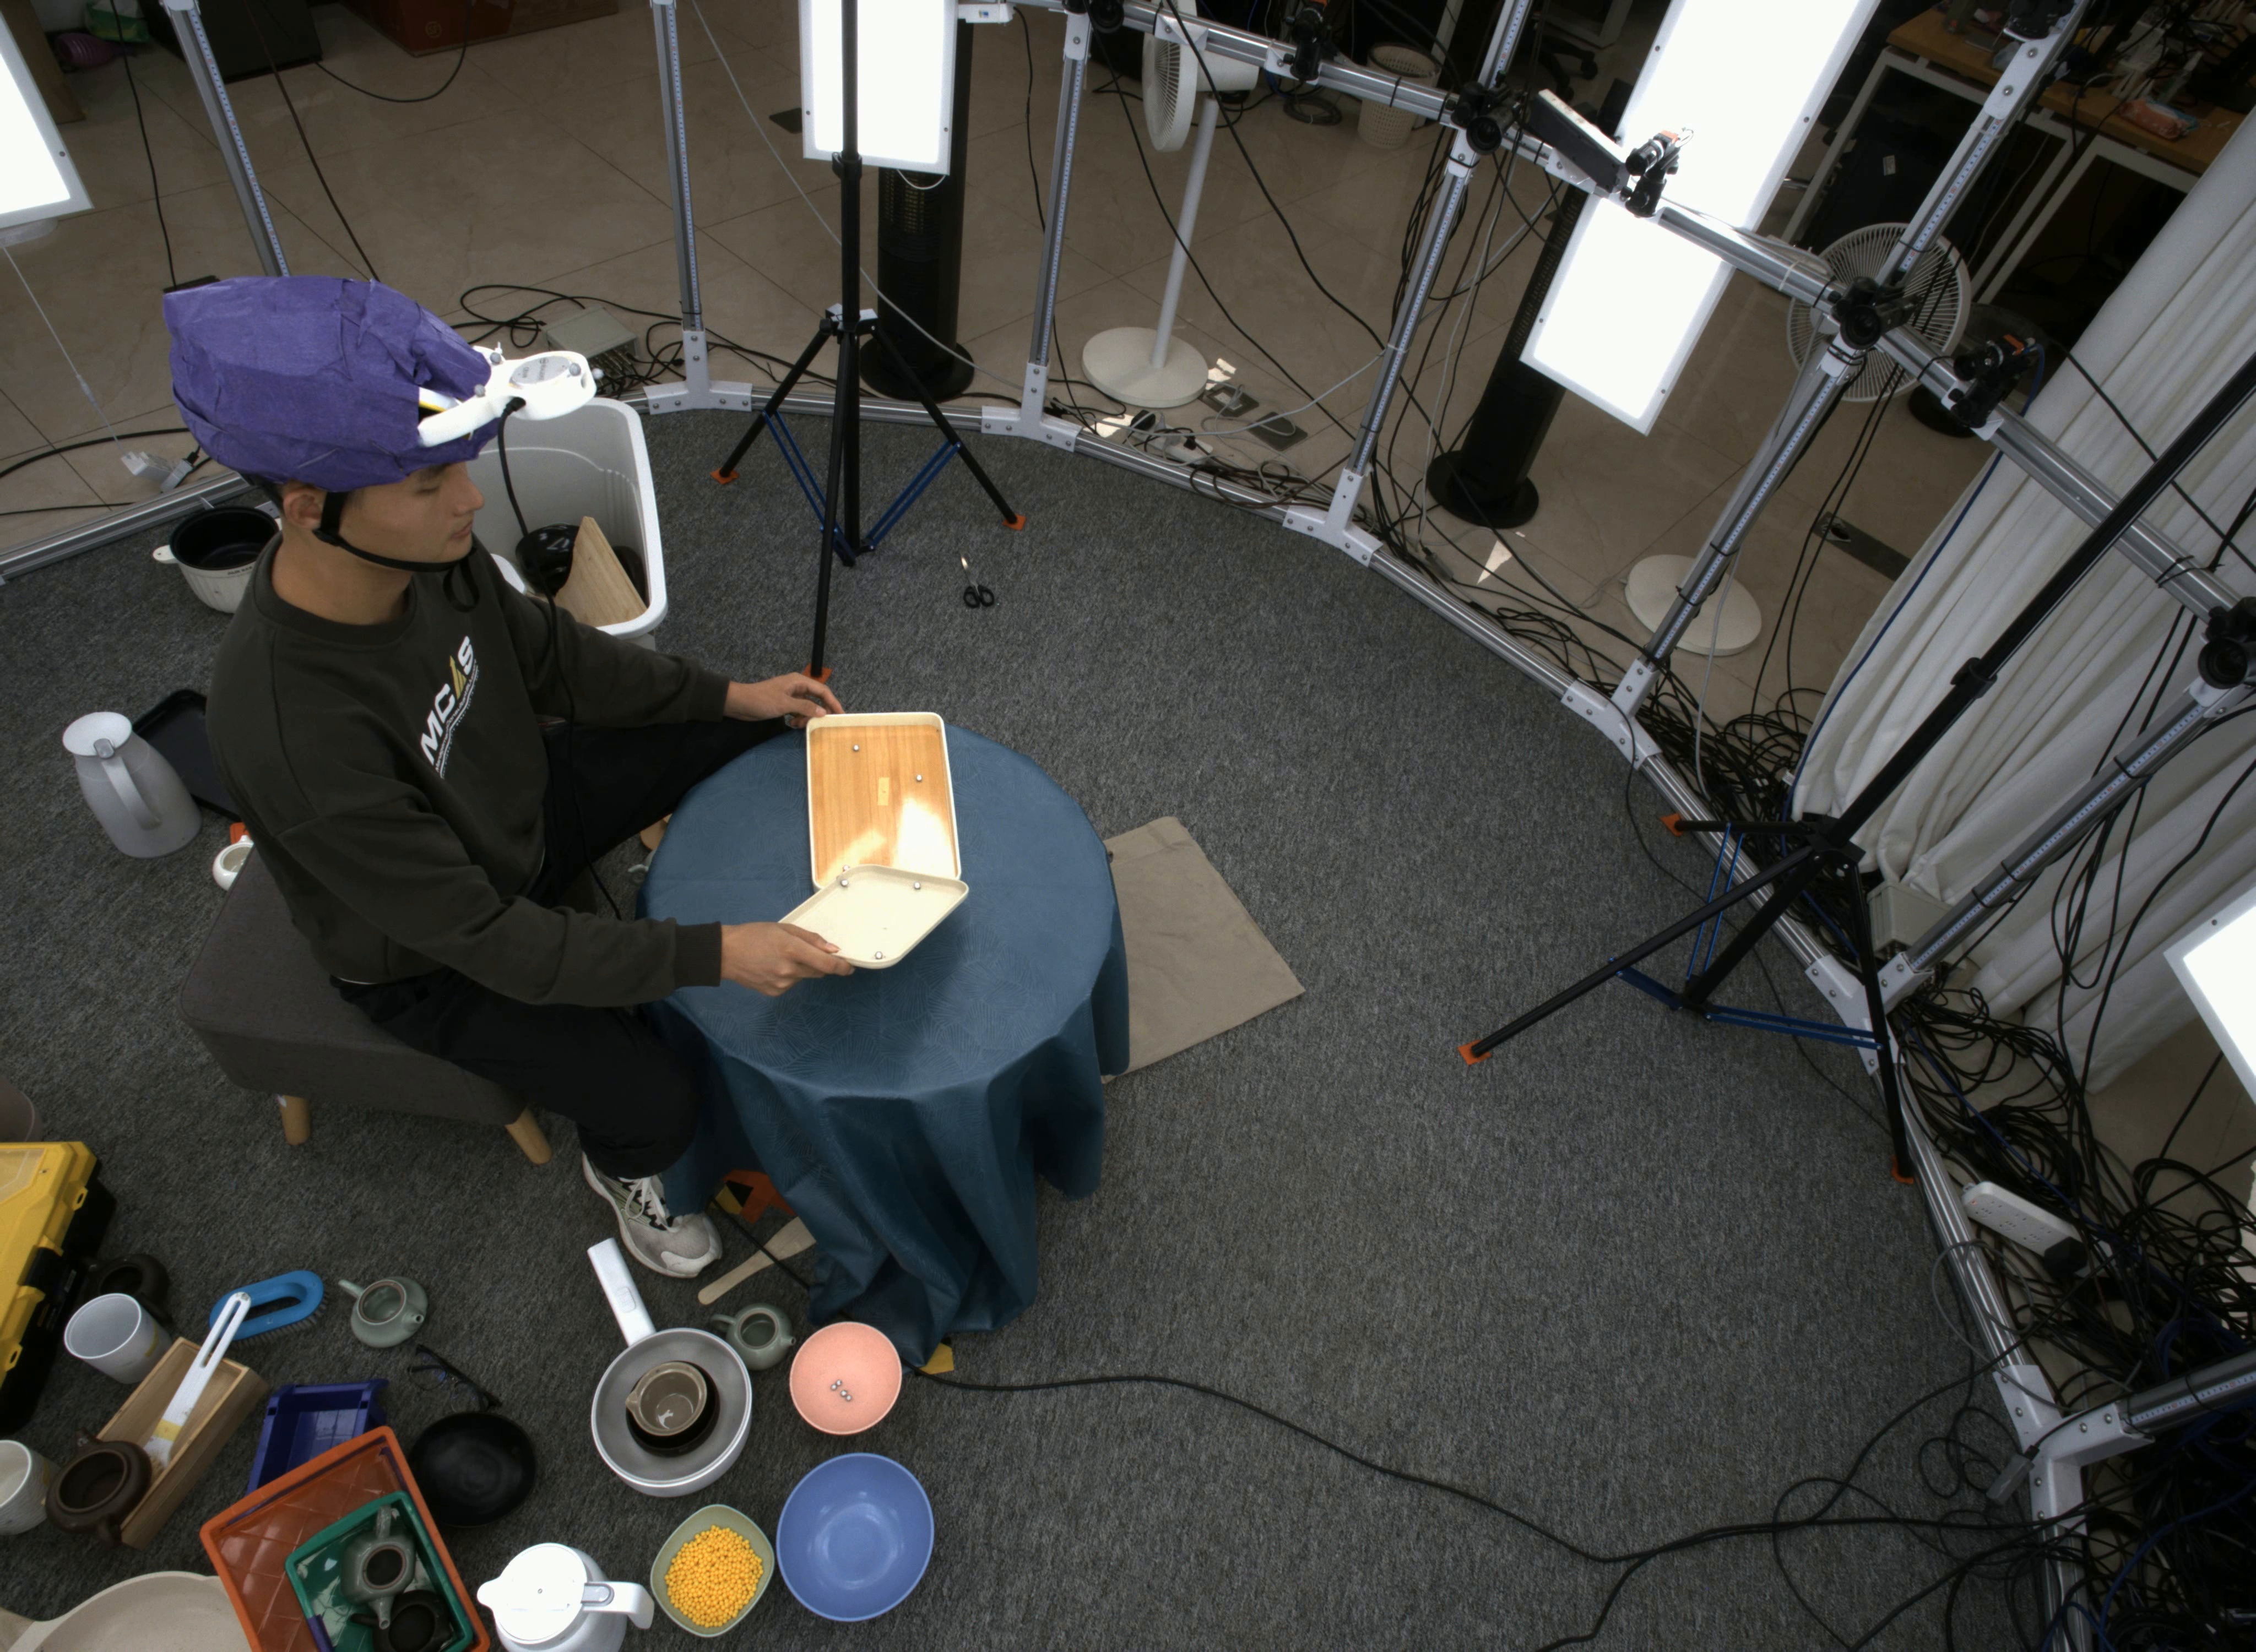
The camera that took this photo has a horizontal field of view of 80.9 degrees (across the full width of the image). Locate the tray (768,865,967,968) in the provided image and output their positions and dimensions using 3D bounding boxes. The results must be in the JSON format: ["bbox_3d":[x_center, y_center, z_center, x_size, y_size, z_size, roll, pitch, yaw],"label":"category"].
[{"bbox_3d":[-0.310,0.106,1.575,0.167,0.018,0.239,10,23,15],"label":"tray"}]

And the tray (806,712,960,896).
[{"bbox_3d":[-0.336,-0.033,1.764,0.192,0.028,0.293,-2,54,-15],"label":"tray"}]
